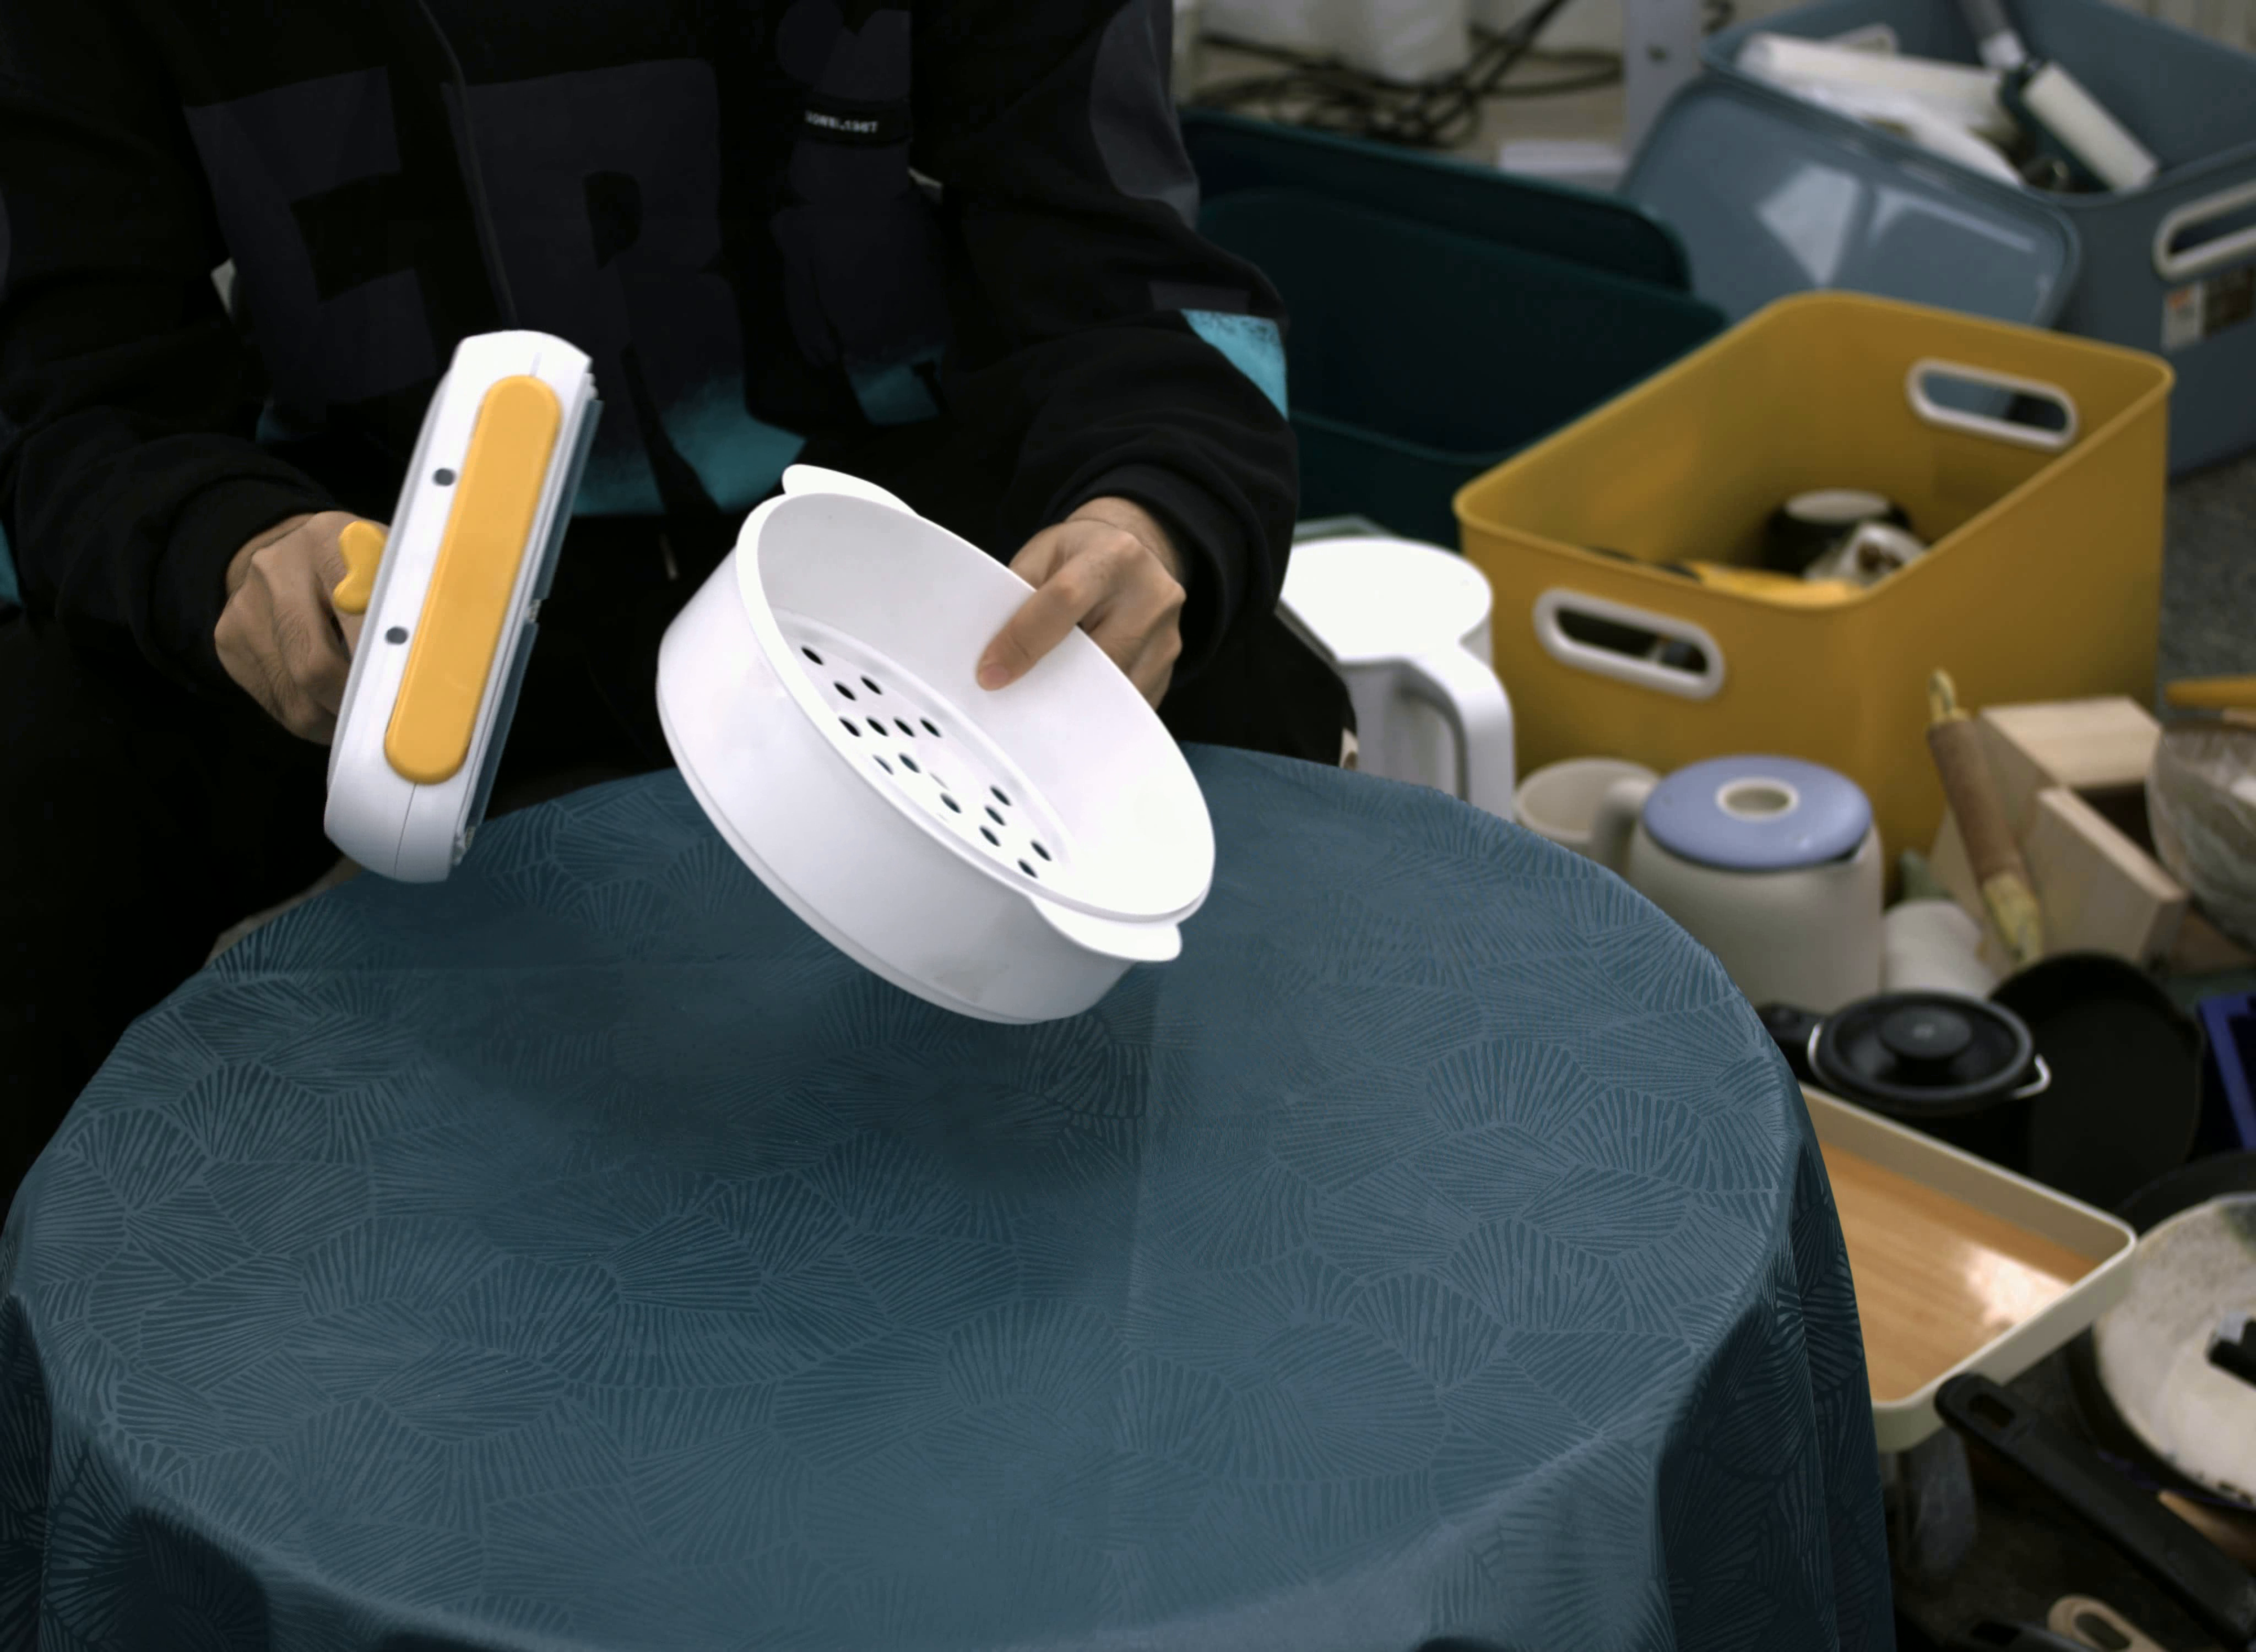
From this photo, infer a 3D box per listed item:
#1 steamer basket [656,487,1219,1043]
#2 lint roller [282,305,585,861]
[{"bbox_3d":[-0.065,-0.015,1.891,0.202,0.068,0.233,15,33,-49],"label":"steamer basket"},{"bbox_3d":[-0.248,-0.068,1.941,0.074,0.196,0.190,13,-20,-14],"label":"lint roller"}]
